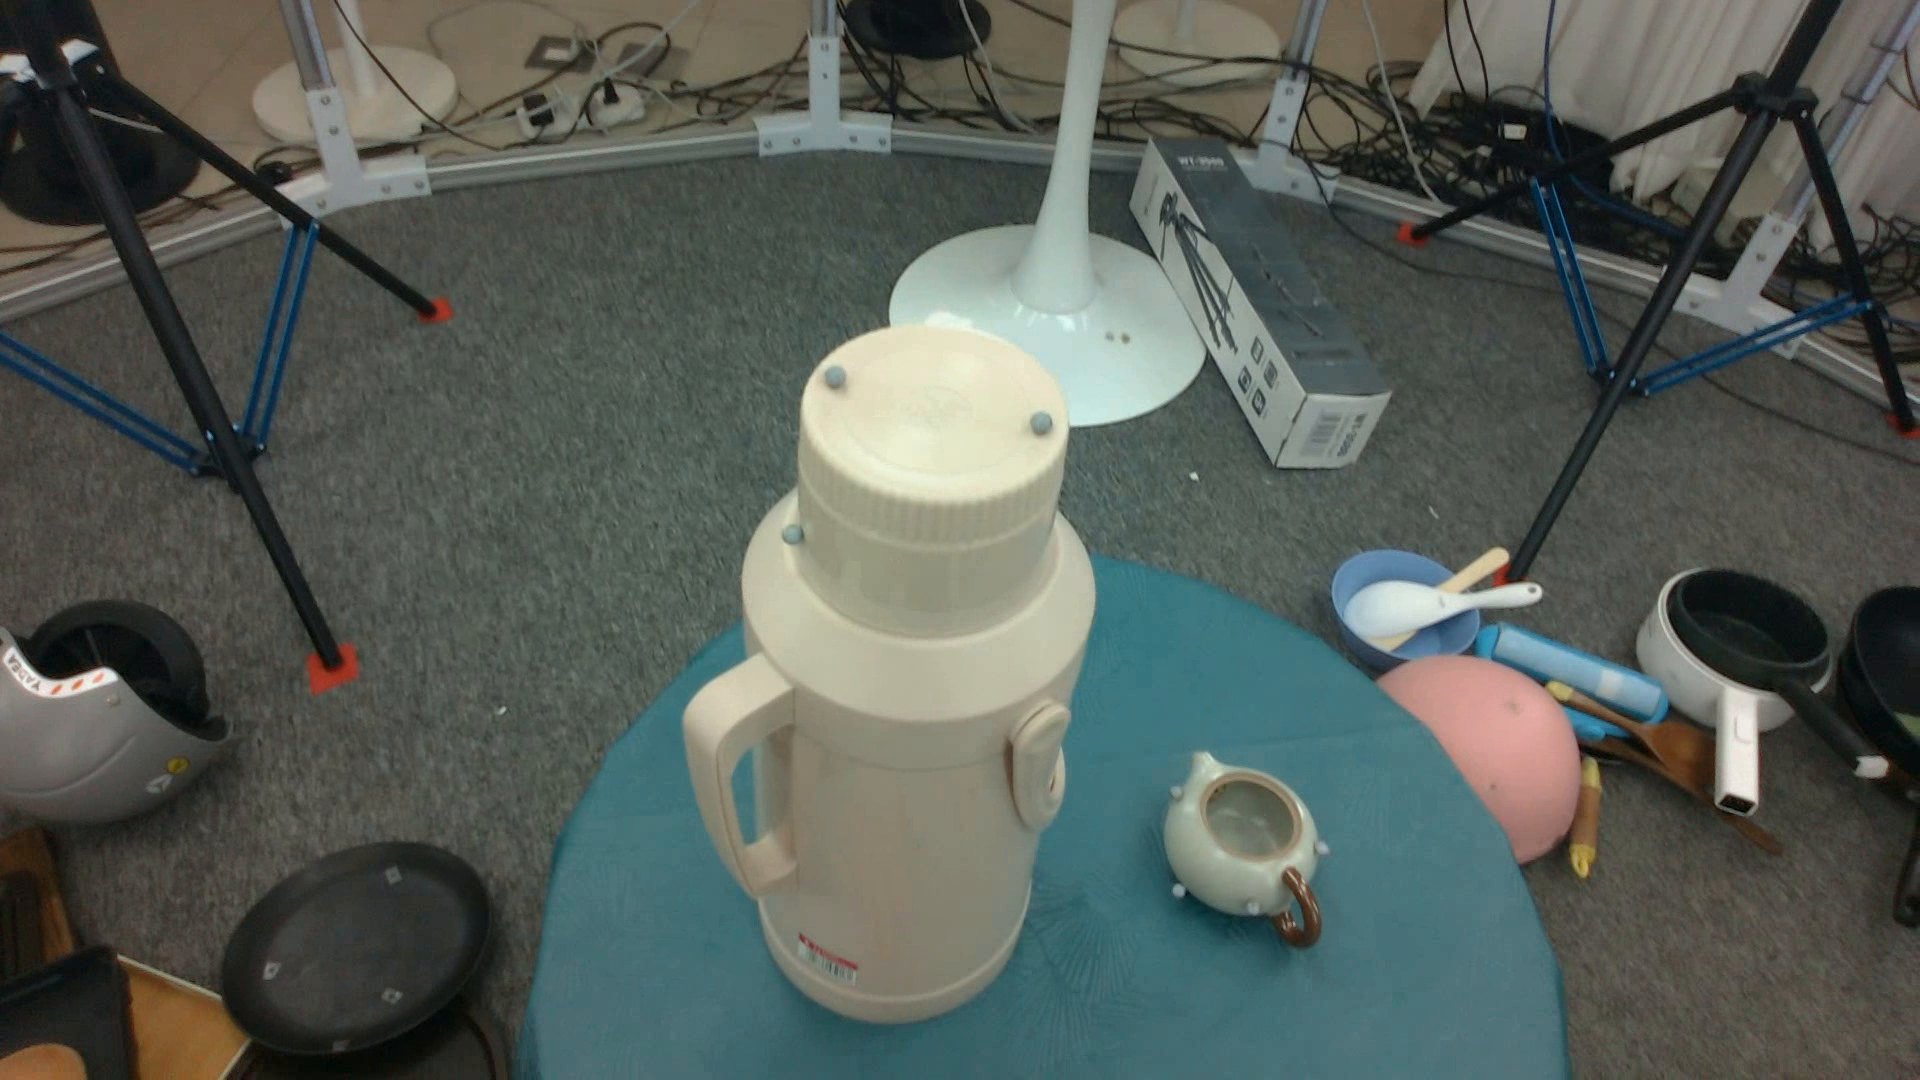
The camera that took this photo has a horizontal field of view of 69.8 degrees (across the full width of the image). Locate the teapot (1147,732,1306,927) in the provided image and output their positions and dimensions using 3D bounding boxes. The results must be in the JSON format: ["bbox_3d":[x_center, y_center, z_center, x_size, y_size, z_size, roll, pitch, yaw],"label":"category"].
[{"bbox_3d":[0.164,0.177,0.830,0.092,0.059,0.128,-19,51,-26],"label":"teapot"}]

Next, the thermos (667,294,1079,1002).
[{"bbox_3d":[-0.046,0.076,0.670,0.208,0.404,0.175,-32,60,-30],"label":"thermos"}]
